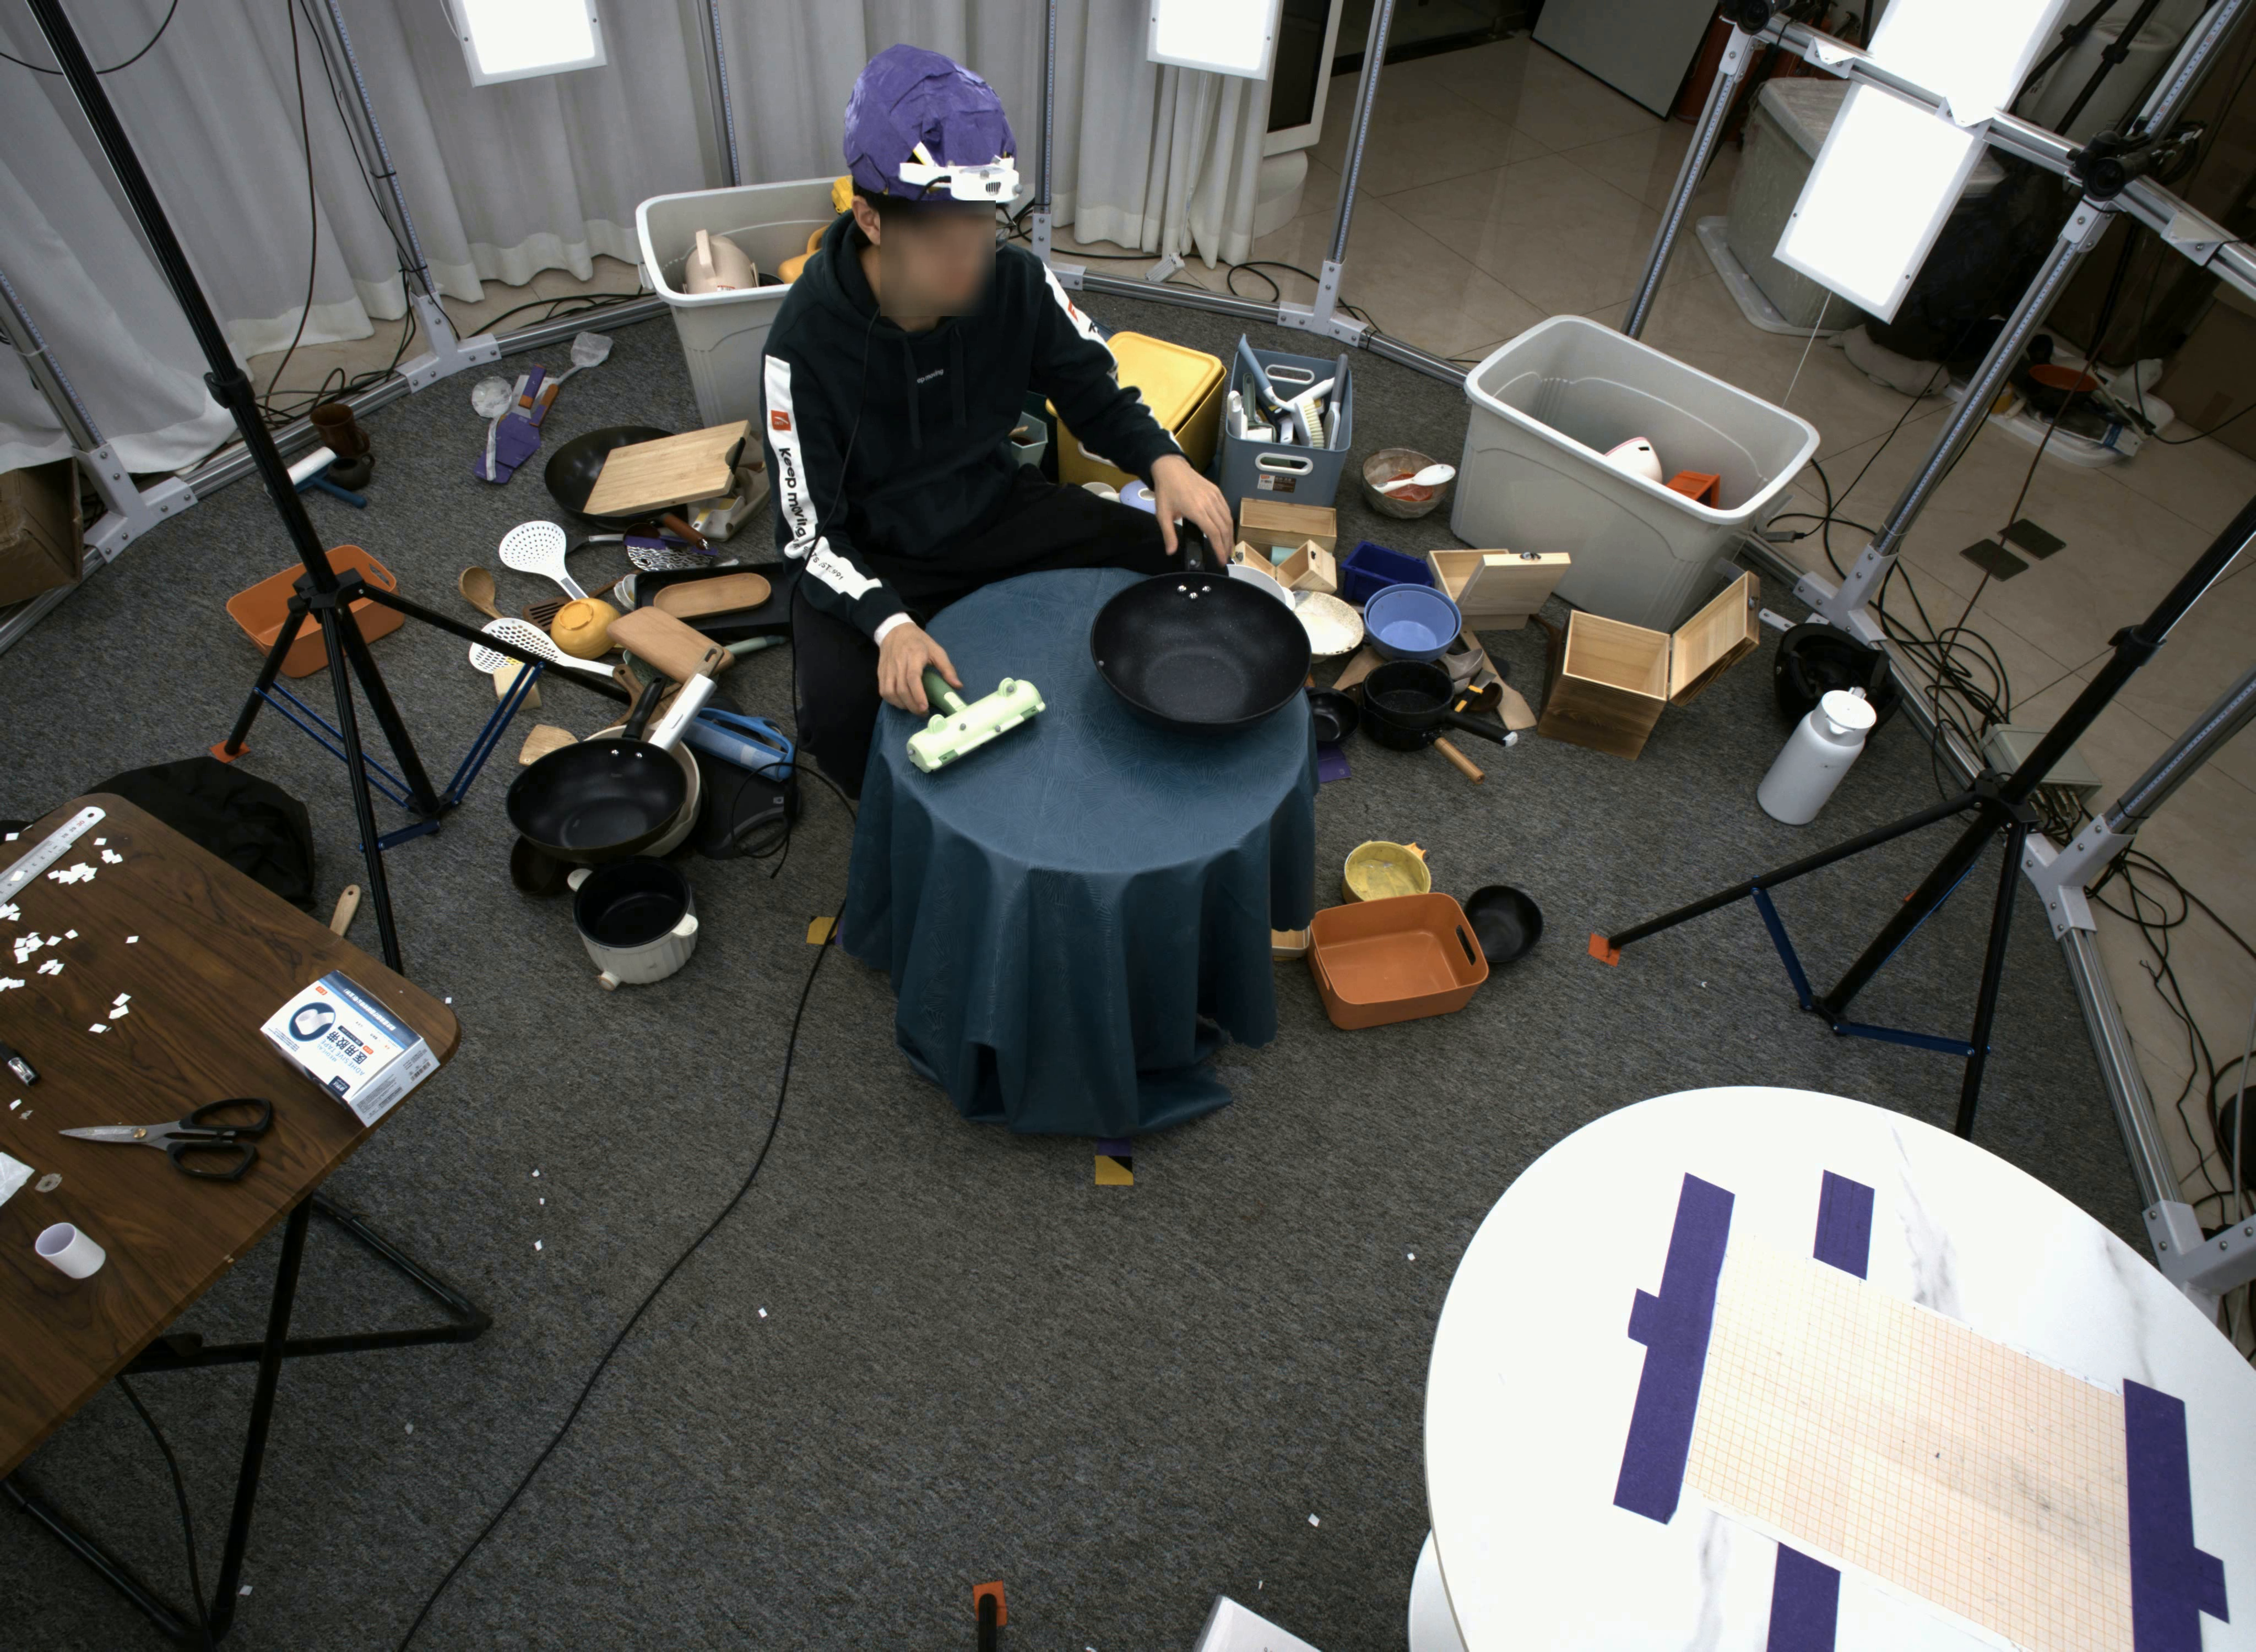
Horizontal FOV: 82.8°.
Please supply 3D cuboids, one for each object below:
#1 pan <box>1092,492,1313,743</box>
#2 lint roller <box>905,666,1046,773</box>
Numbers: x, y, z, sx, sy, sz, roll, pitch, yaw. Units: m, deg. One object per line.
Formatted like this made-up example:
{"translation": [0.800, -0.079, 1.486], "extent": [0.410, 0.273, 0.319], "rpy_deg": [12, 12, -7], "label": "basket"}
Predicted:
{"translation": [0.099, -0.293, 1.860], "extent": [0.310, 0.109, 0.489], "rpy_deg": [2, 50, -4], "label": "pan"}
{"translation": [-0.241, -0.177, 1.757], "extent": [0.200, 0.080, 0.186], "rpy_deg": [-31, 63, -26], "label": "lint roller"}
